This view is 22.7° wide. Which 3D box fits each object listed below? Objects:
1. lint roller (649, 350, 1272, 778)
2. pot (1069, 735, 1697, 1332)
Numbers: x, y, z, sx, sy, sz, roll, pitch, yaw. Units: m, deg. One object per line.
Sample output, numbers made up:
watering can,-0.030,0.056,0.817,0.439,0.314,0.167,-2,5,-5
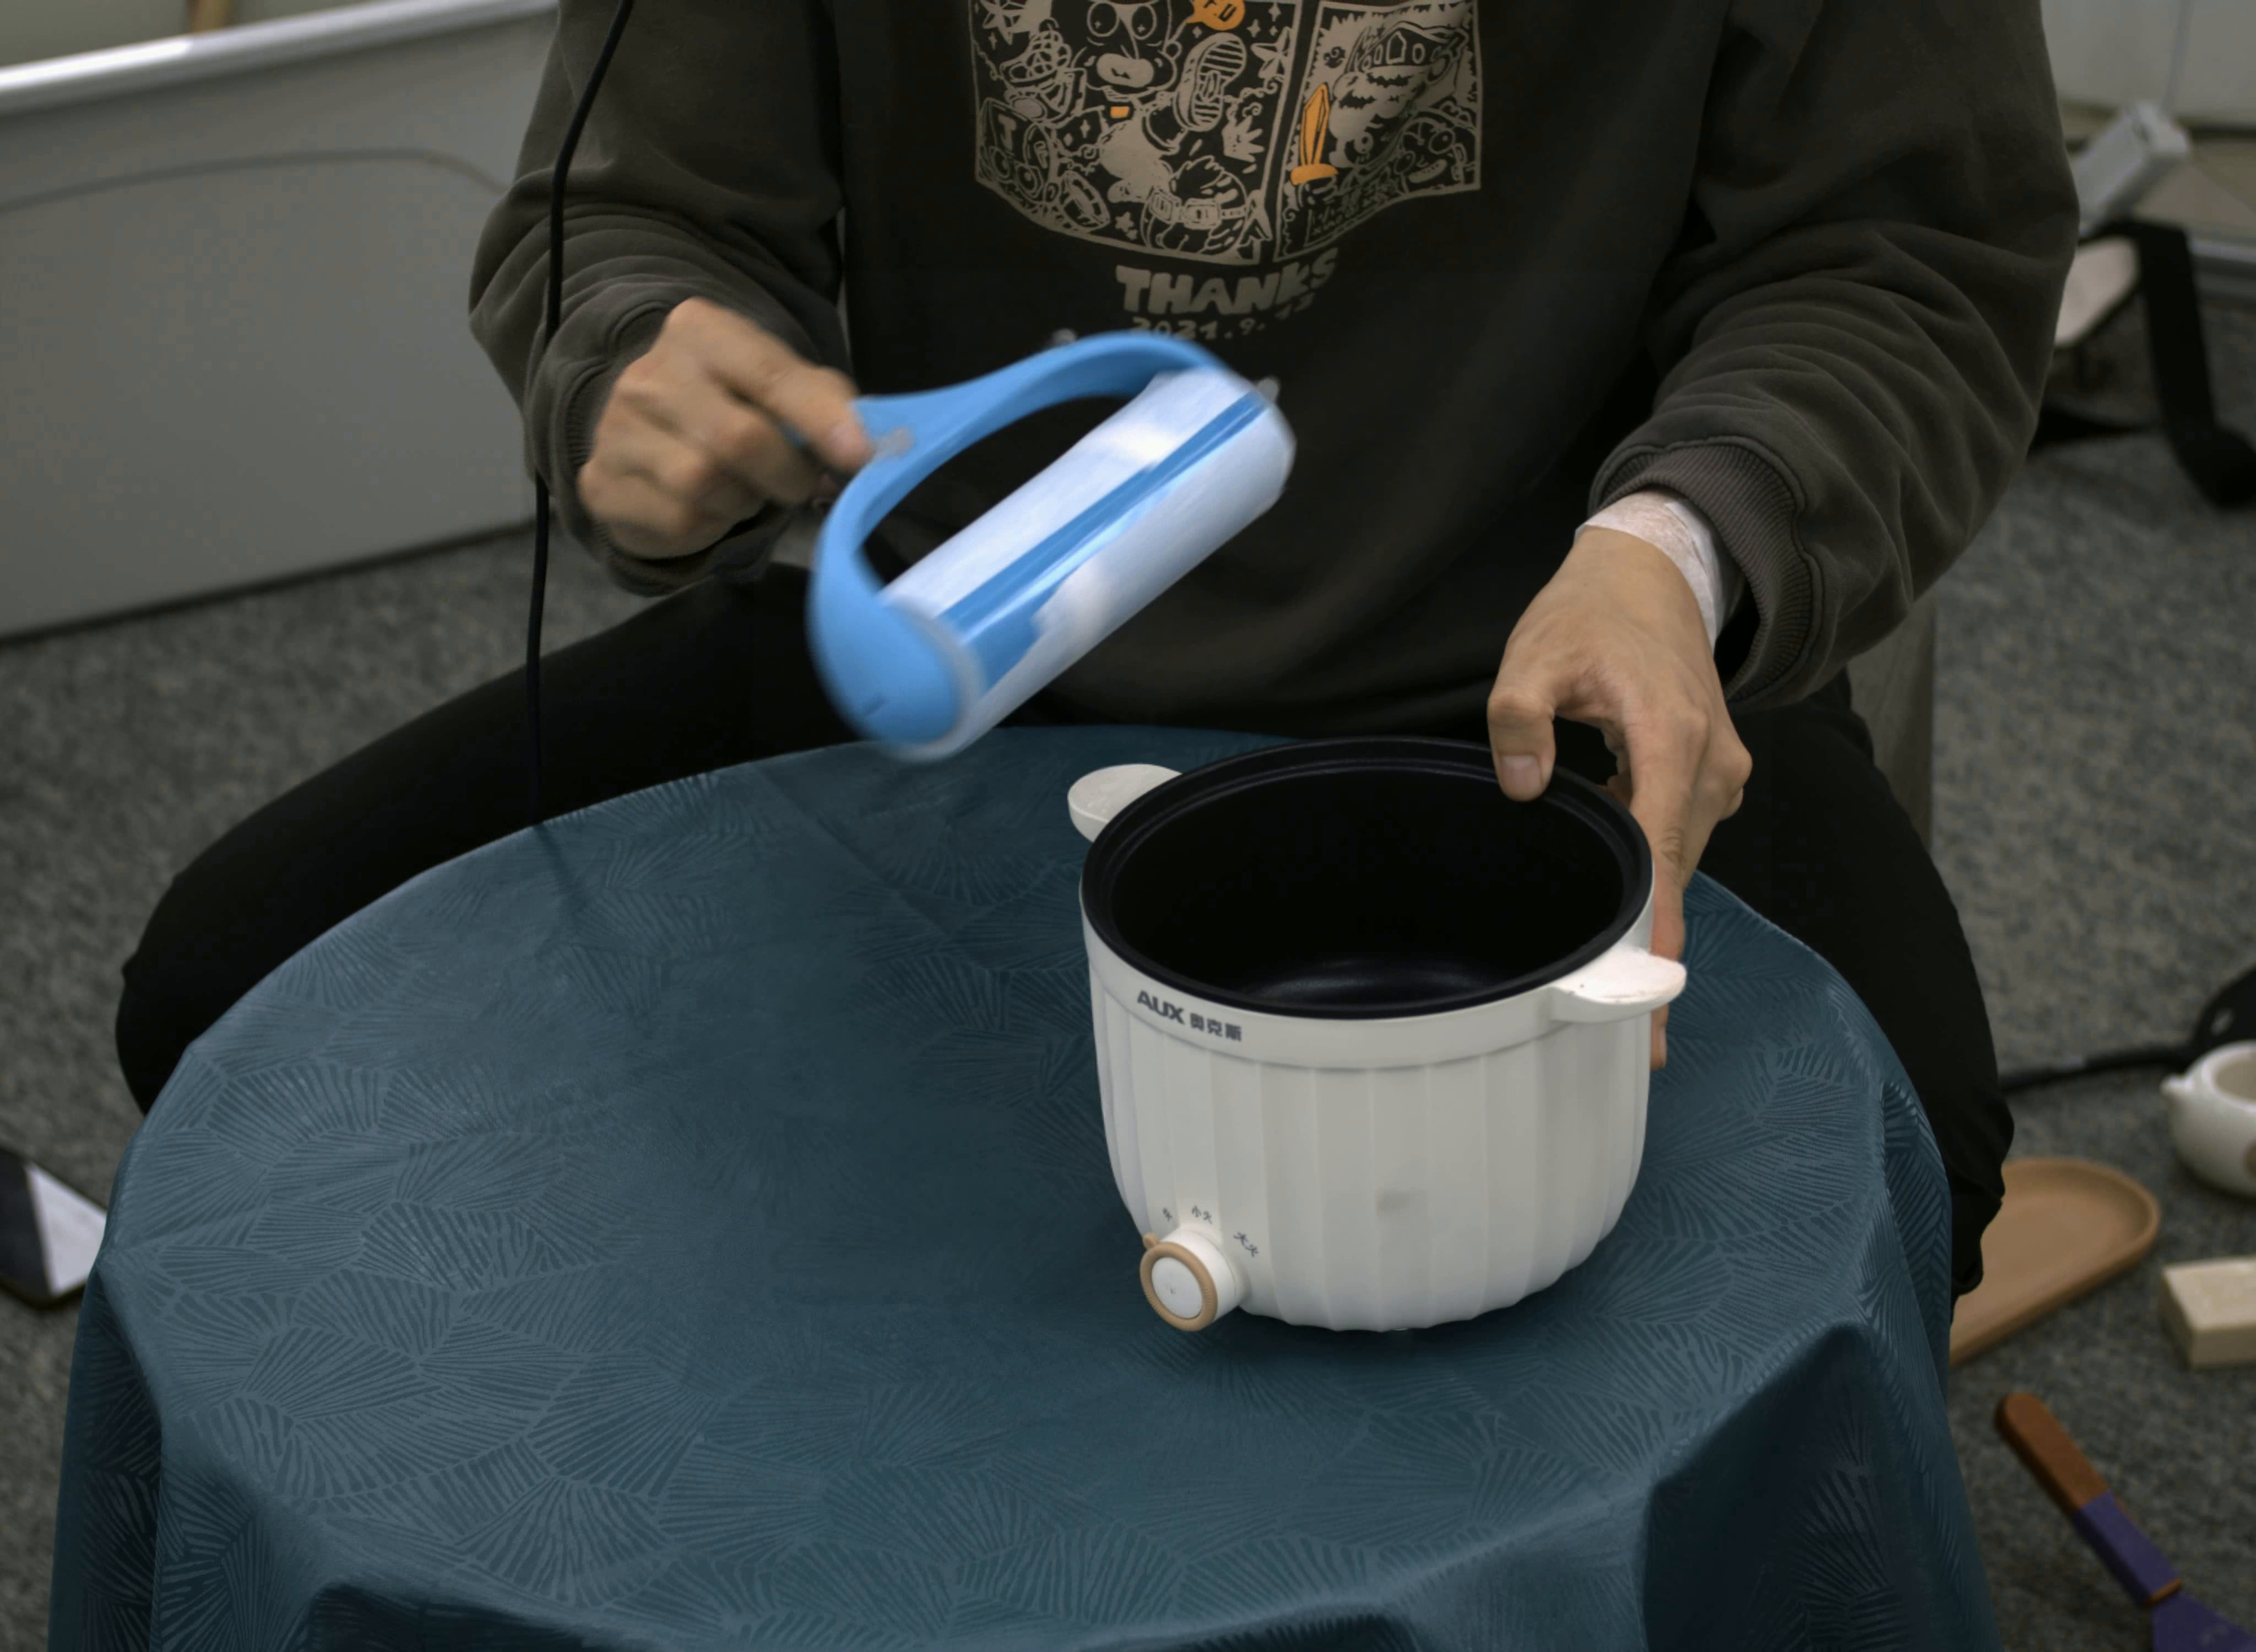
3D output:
lint roller,-0.076,-0.098,1.786,0.179,0.067,0.233,19,35,22
pot,0.077,0.073,1.797,0.239,0.141,0.193,18,31,37
